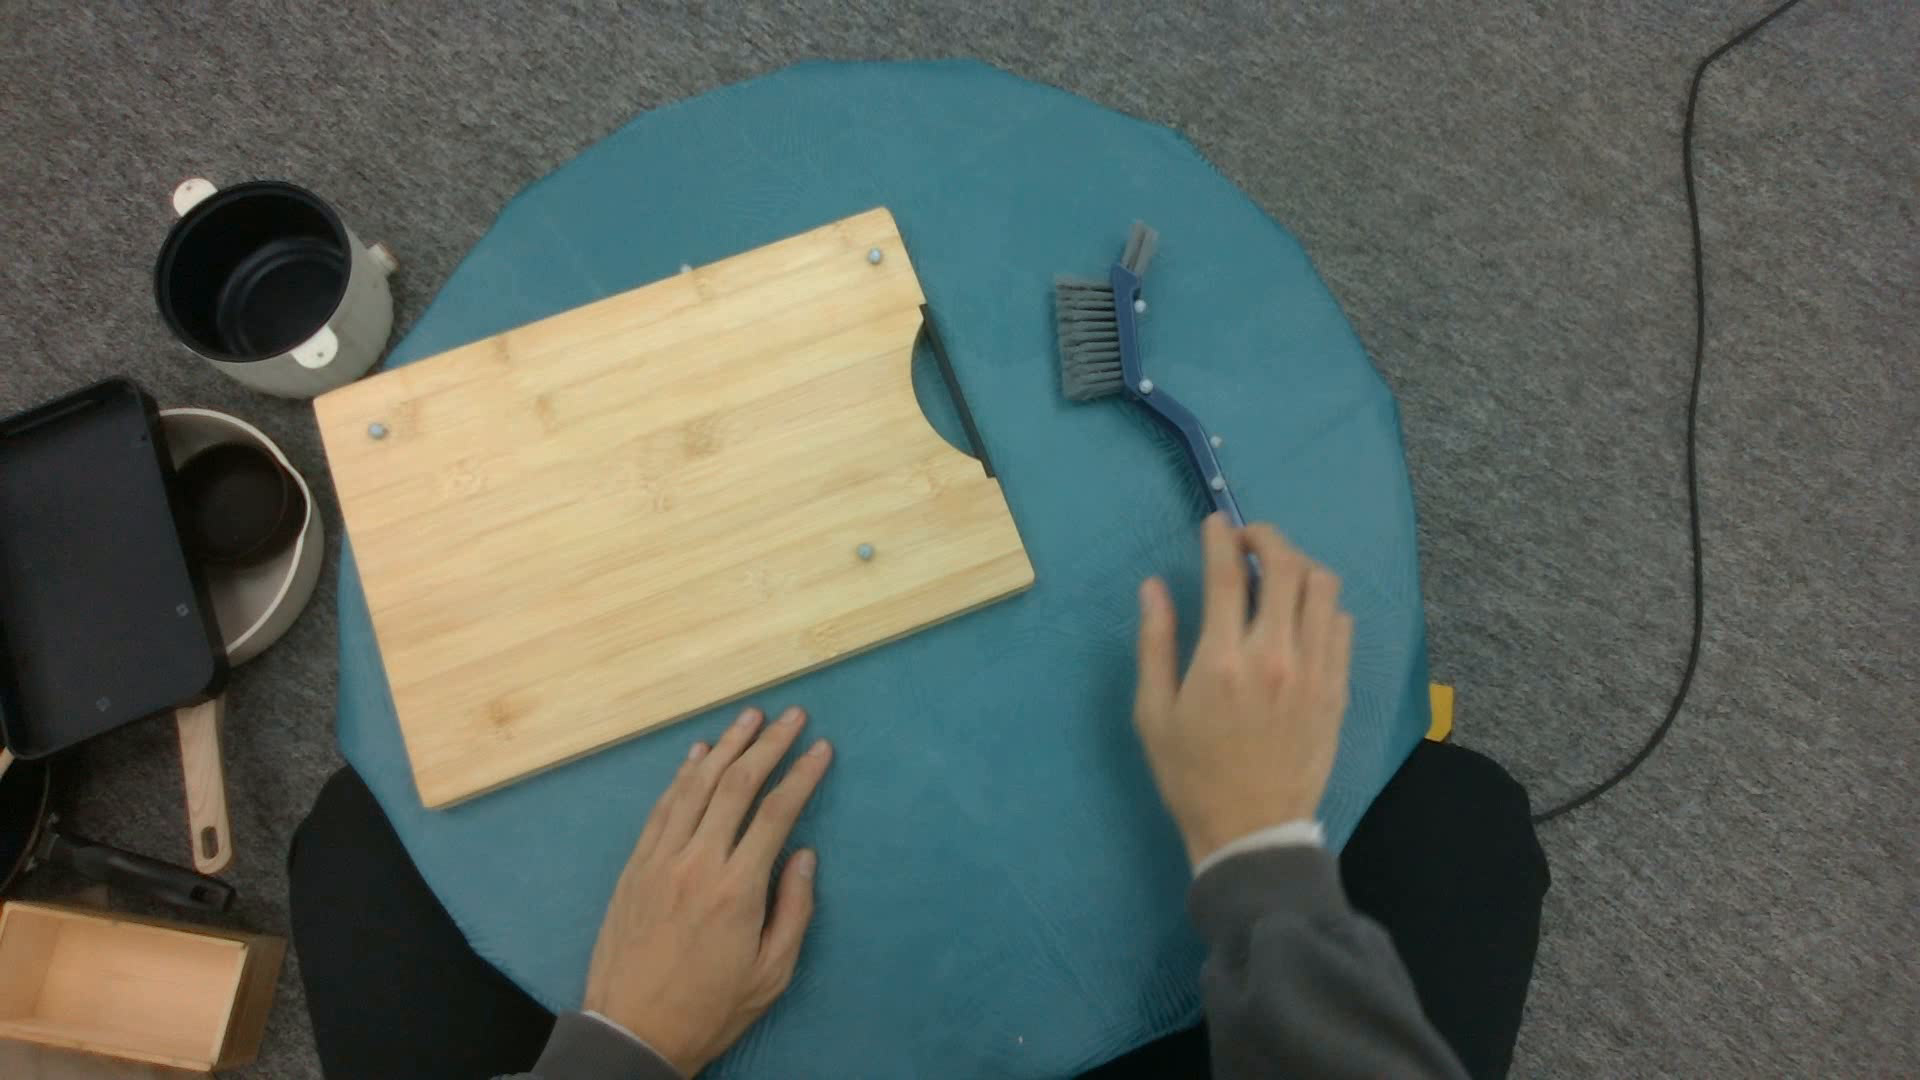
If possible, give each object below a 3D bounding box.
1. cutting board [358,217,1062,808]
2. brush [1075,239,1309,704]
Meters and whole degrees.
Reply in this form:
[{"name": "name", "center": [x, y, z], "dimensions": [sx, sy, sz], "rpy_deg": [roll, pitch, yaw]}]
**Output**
[{"name": "cutting board", "center": [-0.148, -0.023, 0.781], "dimensions": [0.349, 0.023, 0.251], "rpy_deg": [-21, 76, -5]}, {"name": "brush", "center": [0.145, -0.042, 0.775], "dimensions": [0.096, 0.033, 0.273], "rpy_deg": [-27, 75, -7]}]
